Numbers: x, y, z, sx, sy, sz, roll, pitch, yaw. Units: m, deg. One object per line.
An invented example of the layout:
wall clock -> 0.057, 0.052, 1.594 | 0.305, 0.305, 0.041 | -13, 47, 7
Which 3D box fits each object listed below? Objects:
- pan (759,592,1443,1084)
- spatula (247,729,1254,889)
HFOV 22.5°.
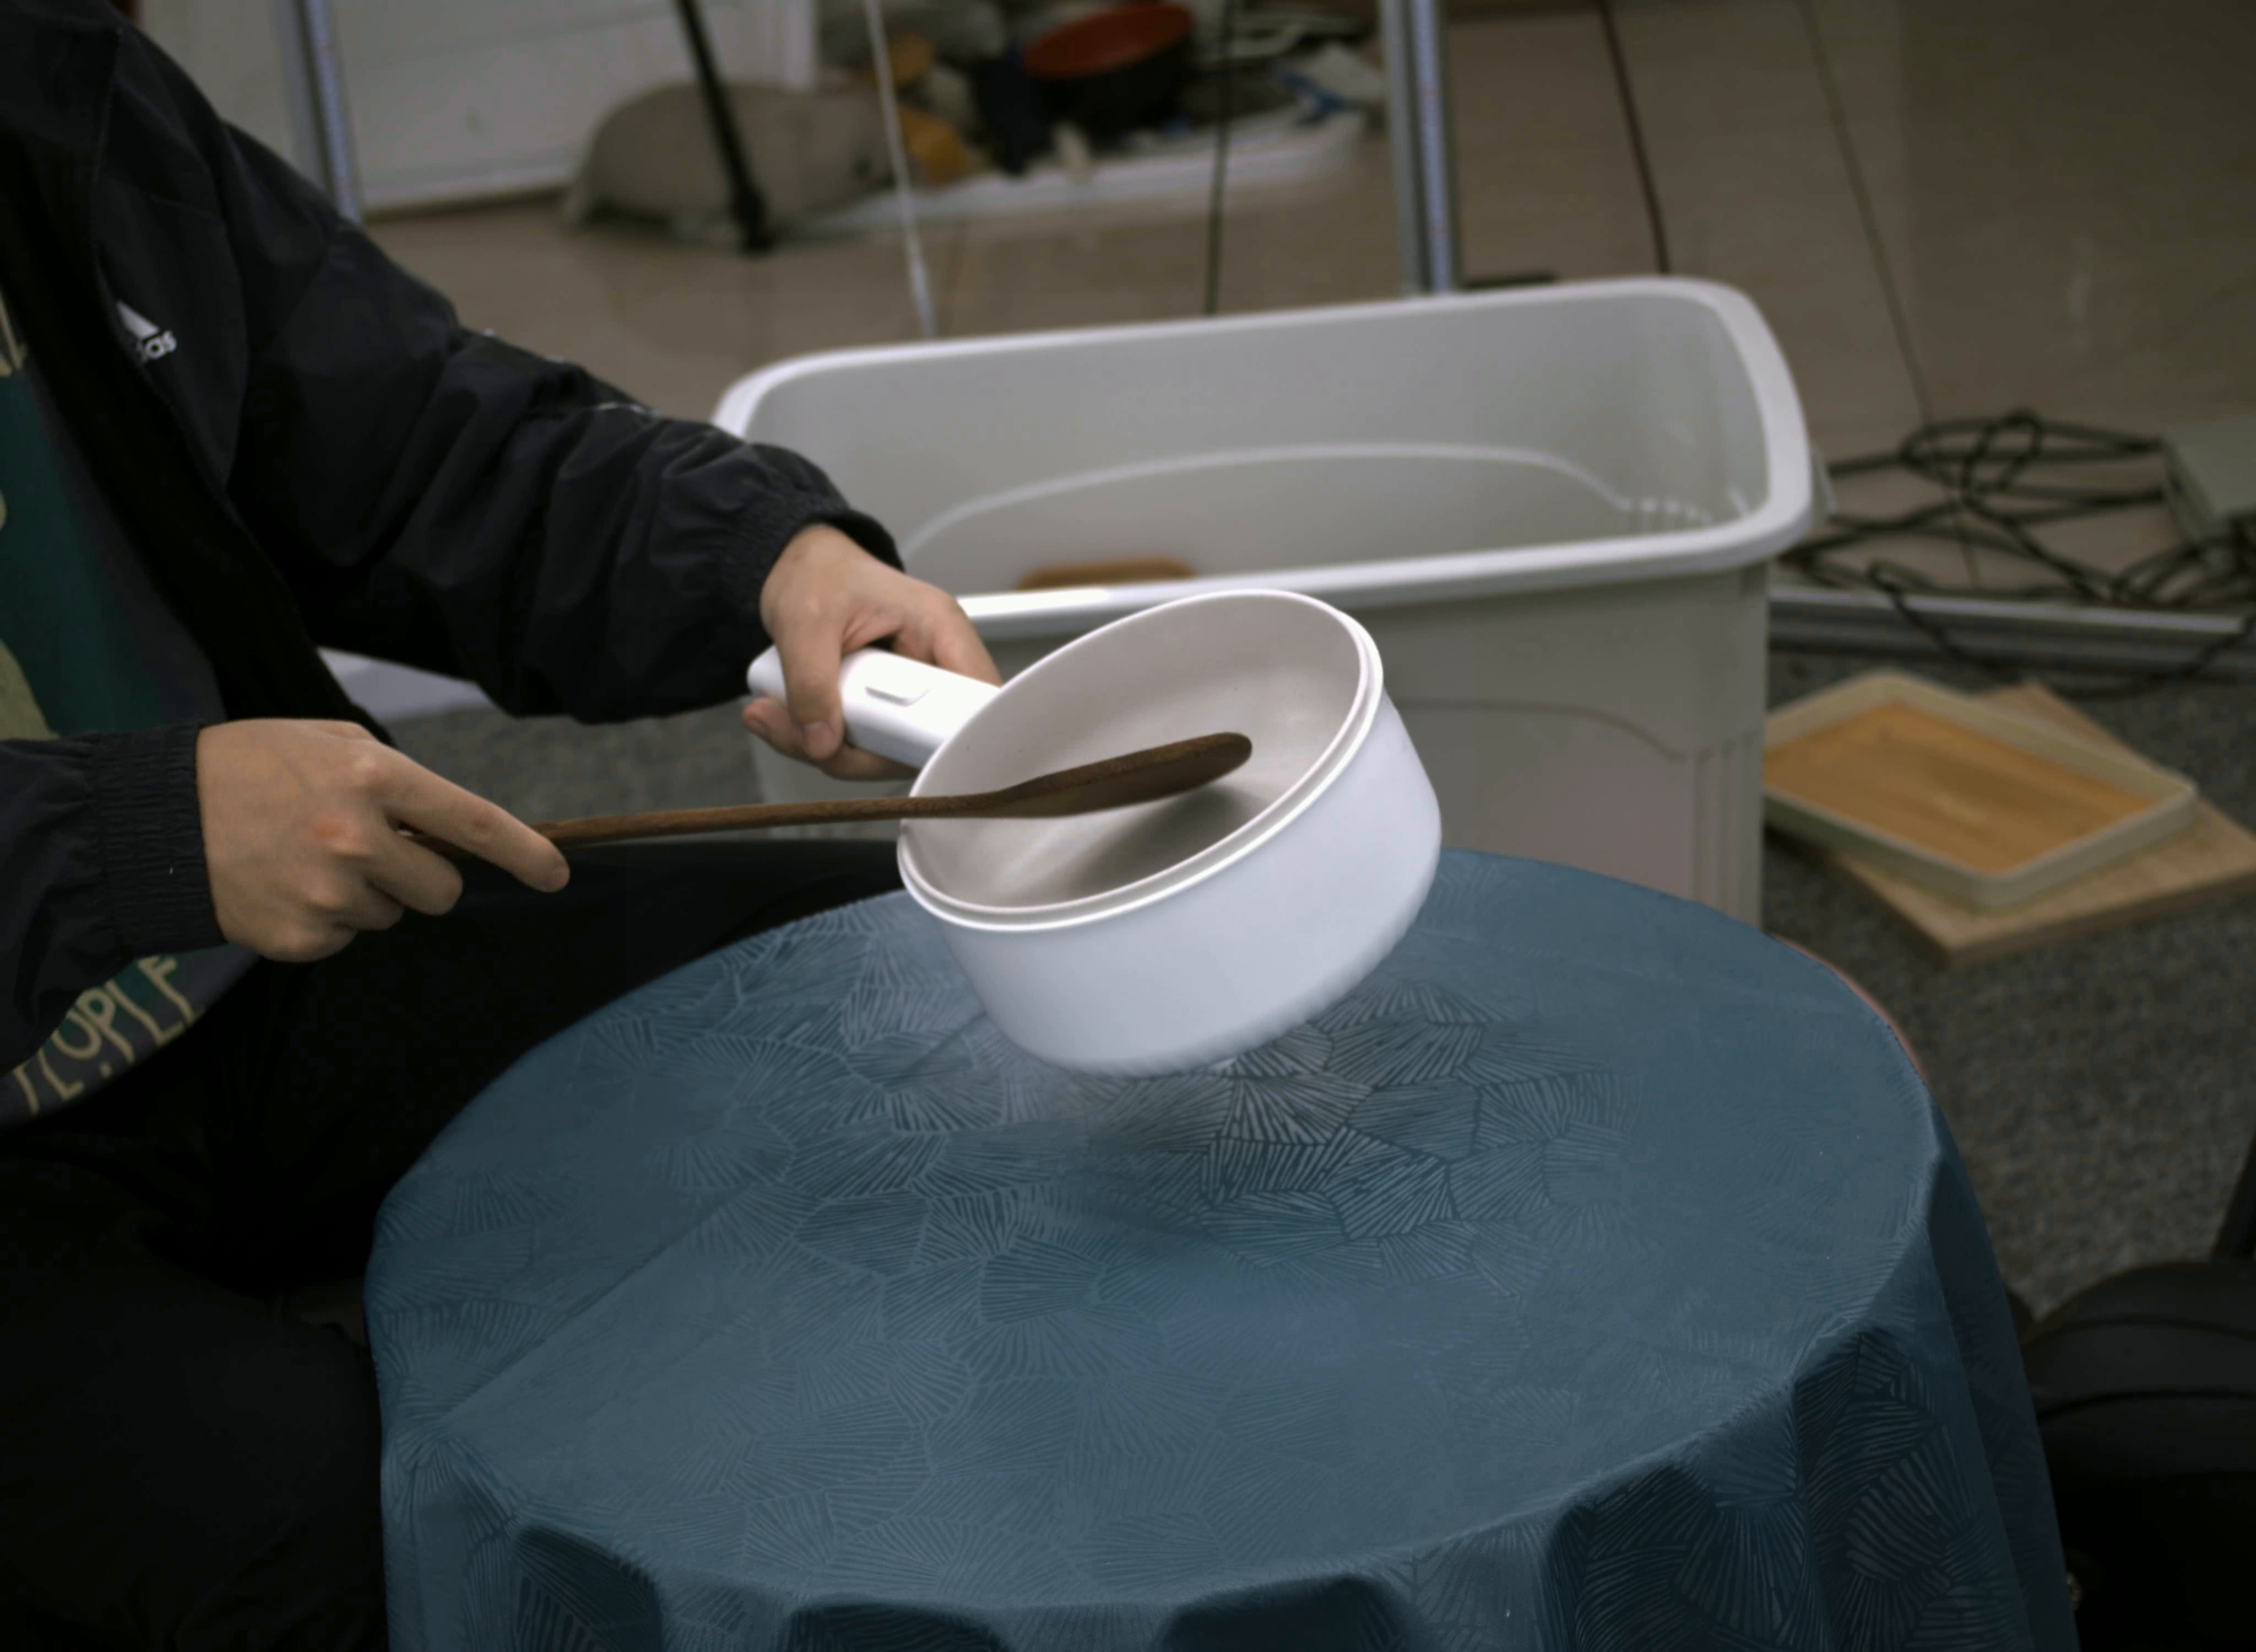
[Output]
pan -> -0.023, -0.004, 2.238 | 0.199, 0.103, 0.352 | -43, 32, -21
spatula -> -0.142, -0.003, 2.155 | 0.385, 0.016, 0.097 | -6, -11, -9
